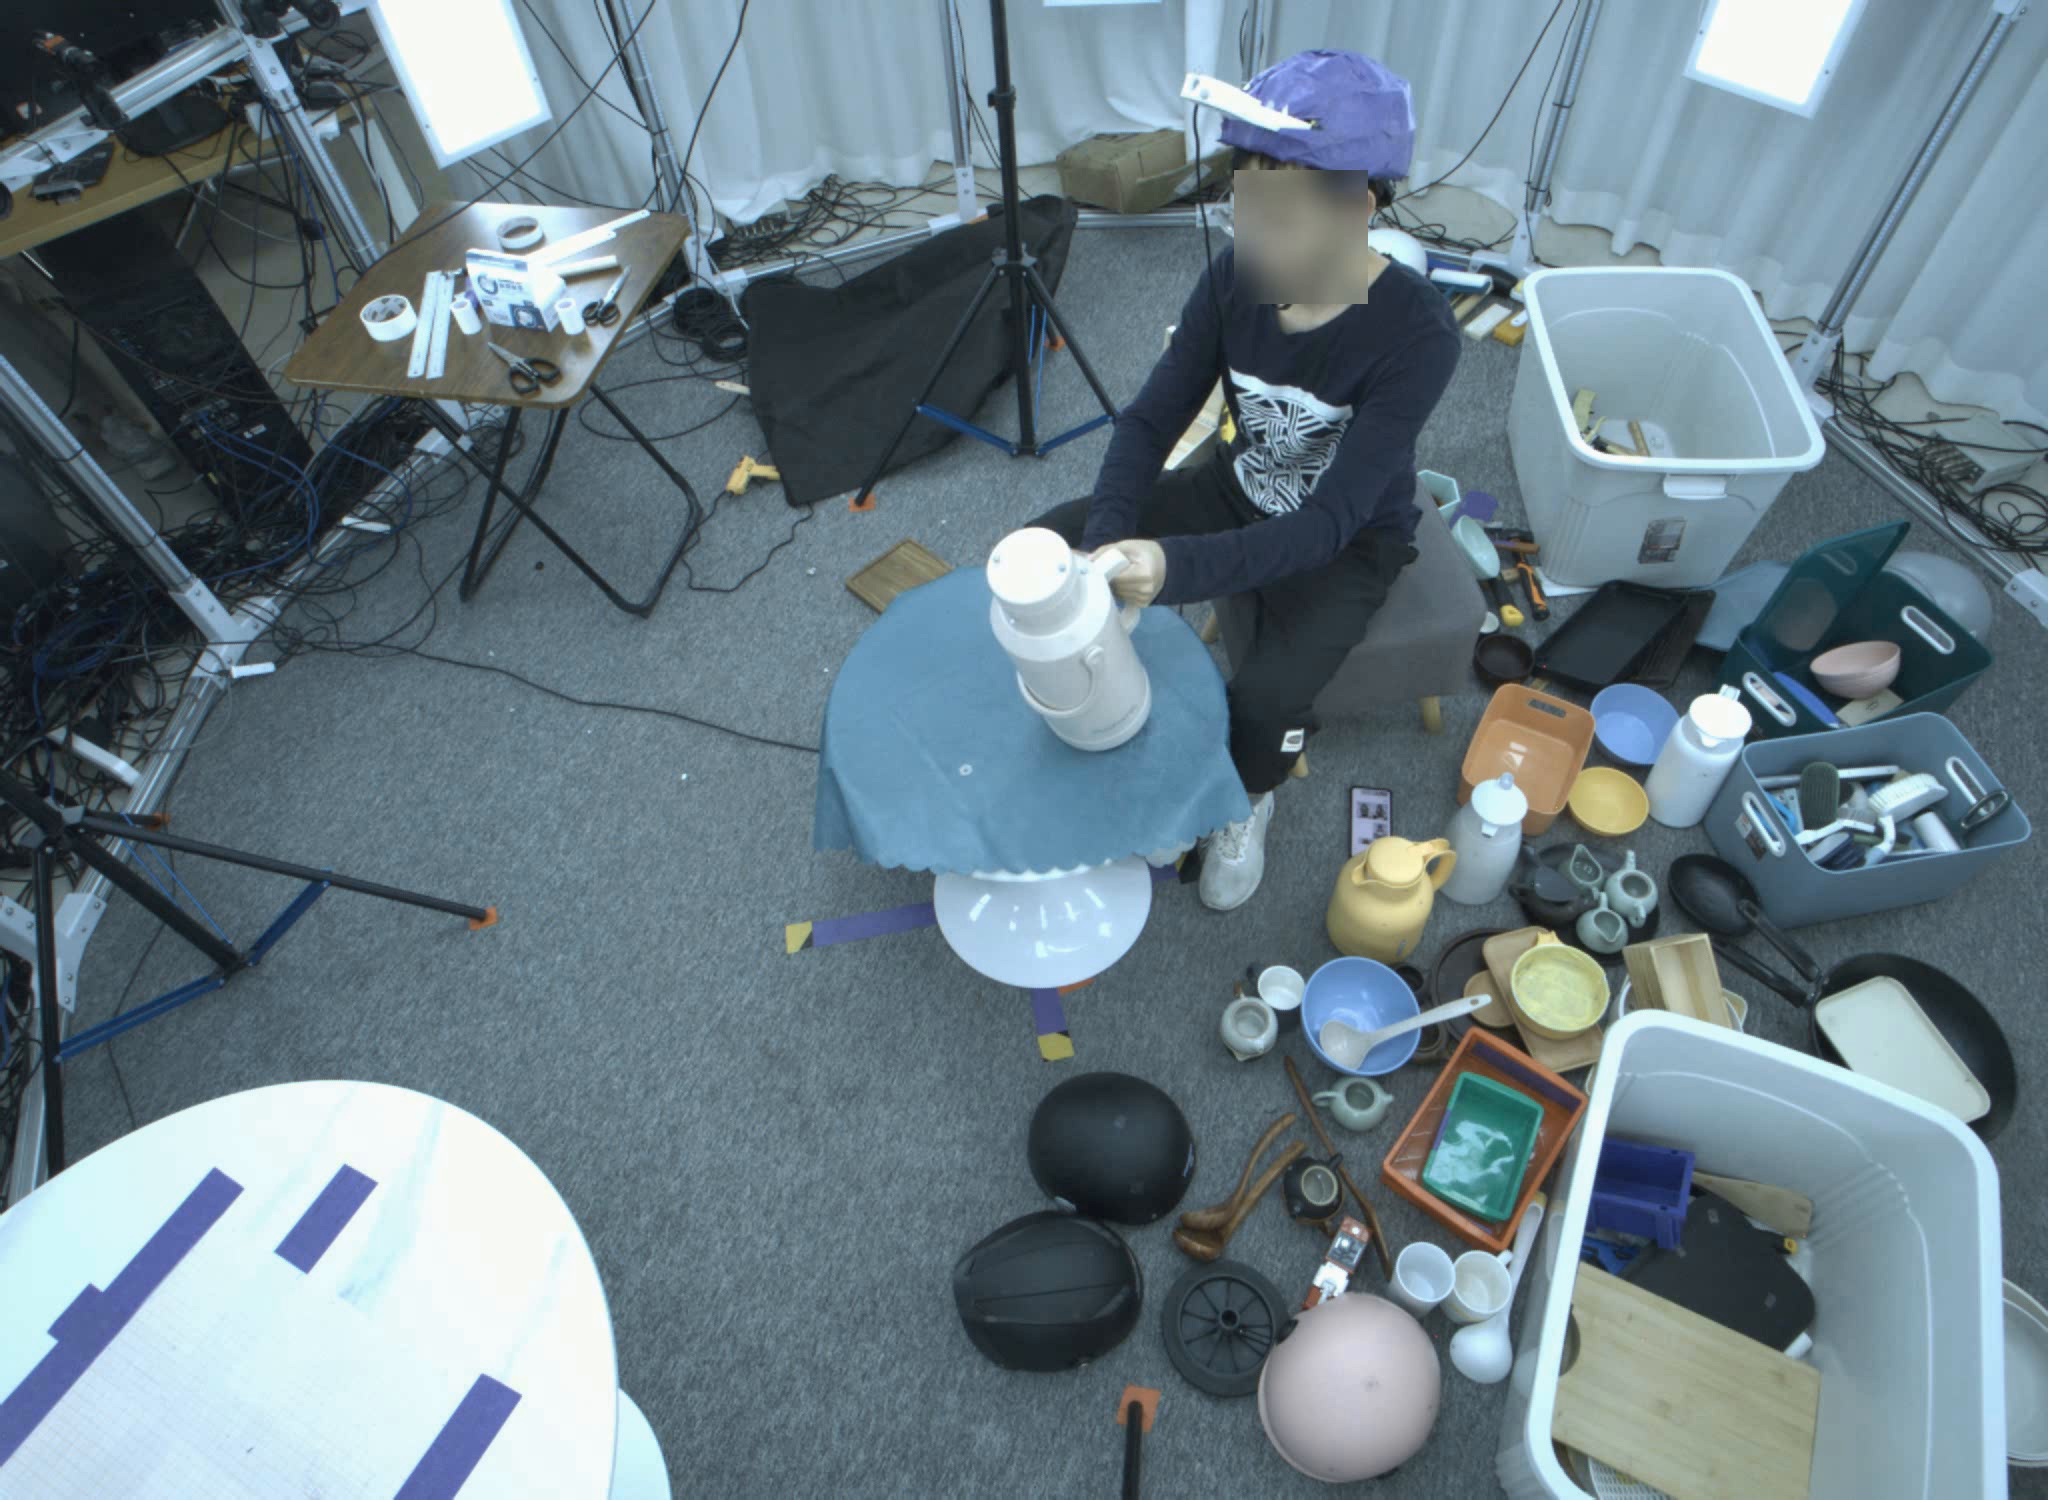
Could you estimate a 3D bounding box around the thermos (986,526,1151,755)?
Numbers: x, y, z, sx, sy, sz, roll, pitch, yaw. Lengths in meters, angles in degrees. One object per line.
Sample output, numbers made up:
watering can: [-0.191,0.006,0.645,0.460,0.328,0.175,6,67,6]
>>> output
thermos: [0.068,-0.150,1.617,0.207,0.413,0.172,-41,62,-4]

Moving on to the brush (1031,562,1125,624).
brush: [0.076,-0.221,1.711,0.082,0.147,0.055,-13,70,31]
